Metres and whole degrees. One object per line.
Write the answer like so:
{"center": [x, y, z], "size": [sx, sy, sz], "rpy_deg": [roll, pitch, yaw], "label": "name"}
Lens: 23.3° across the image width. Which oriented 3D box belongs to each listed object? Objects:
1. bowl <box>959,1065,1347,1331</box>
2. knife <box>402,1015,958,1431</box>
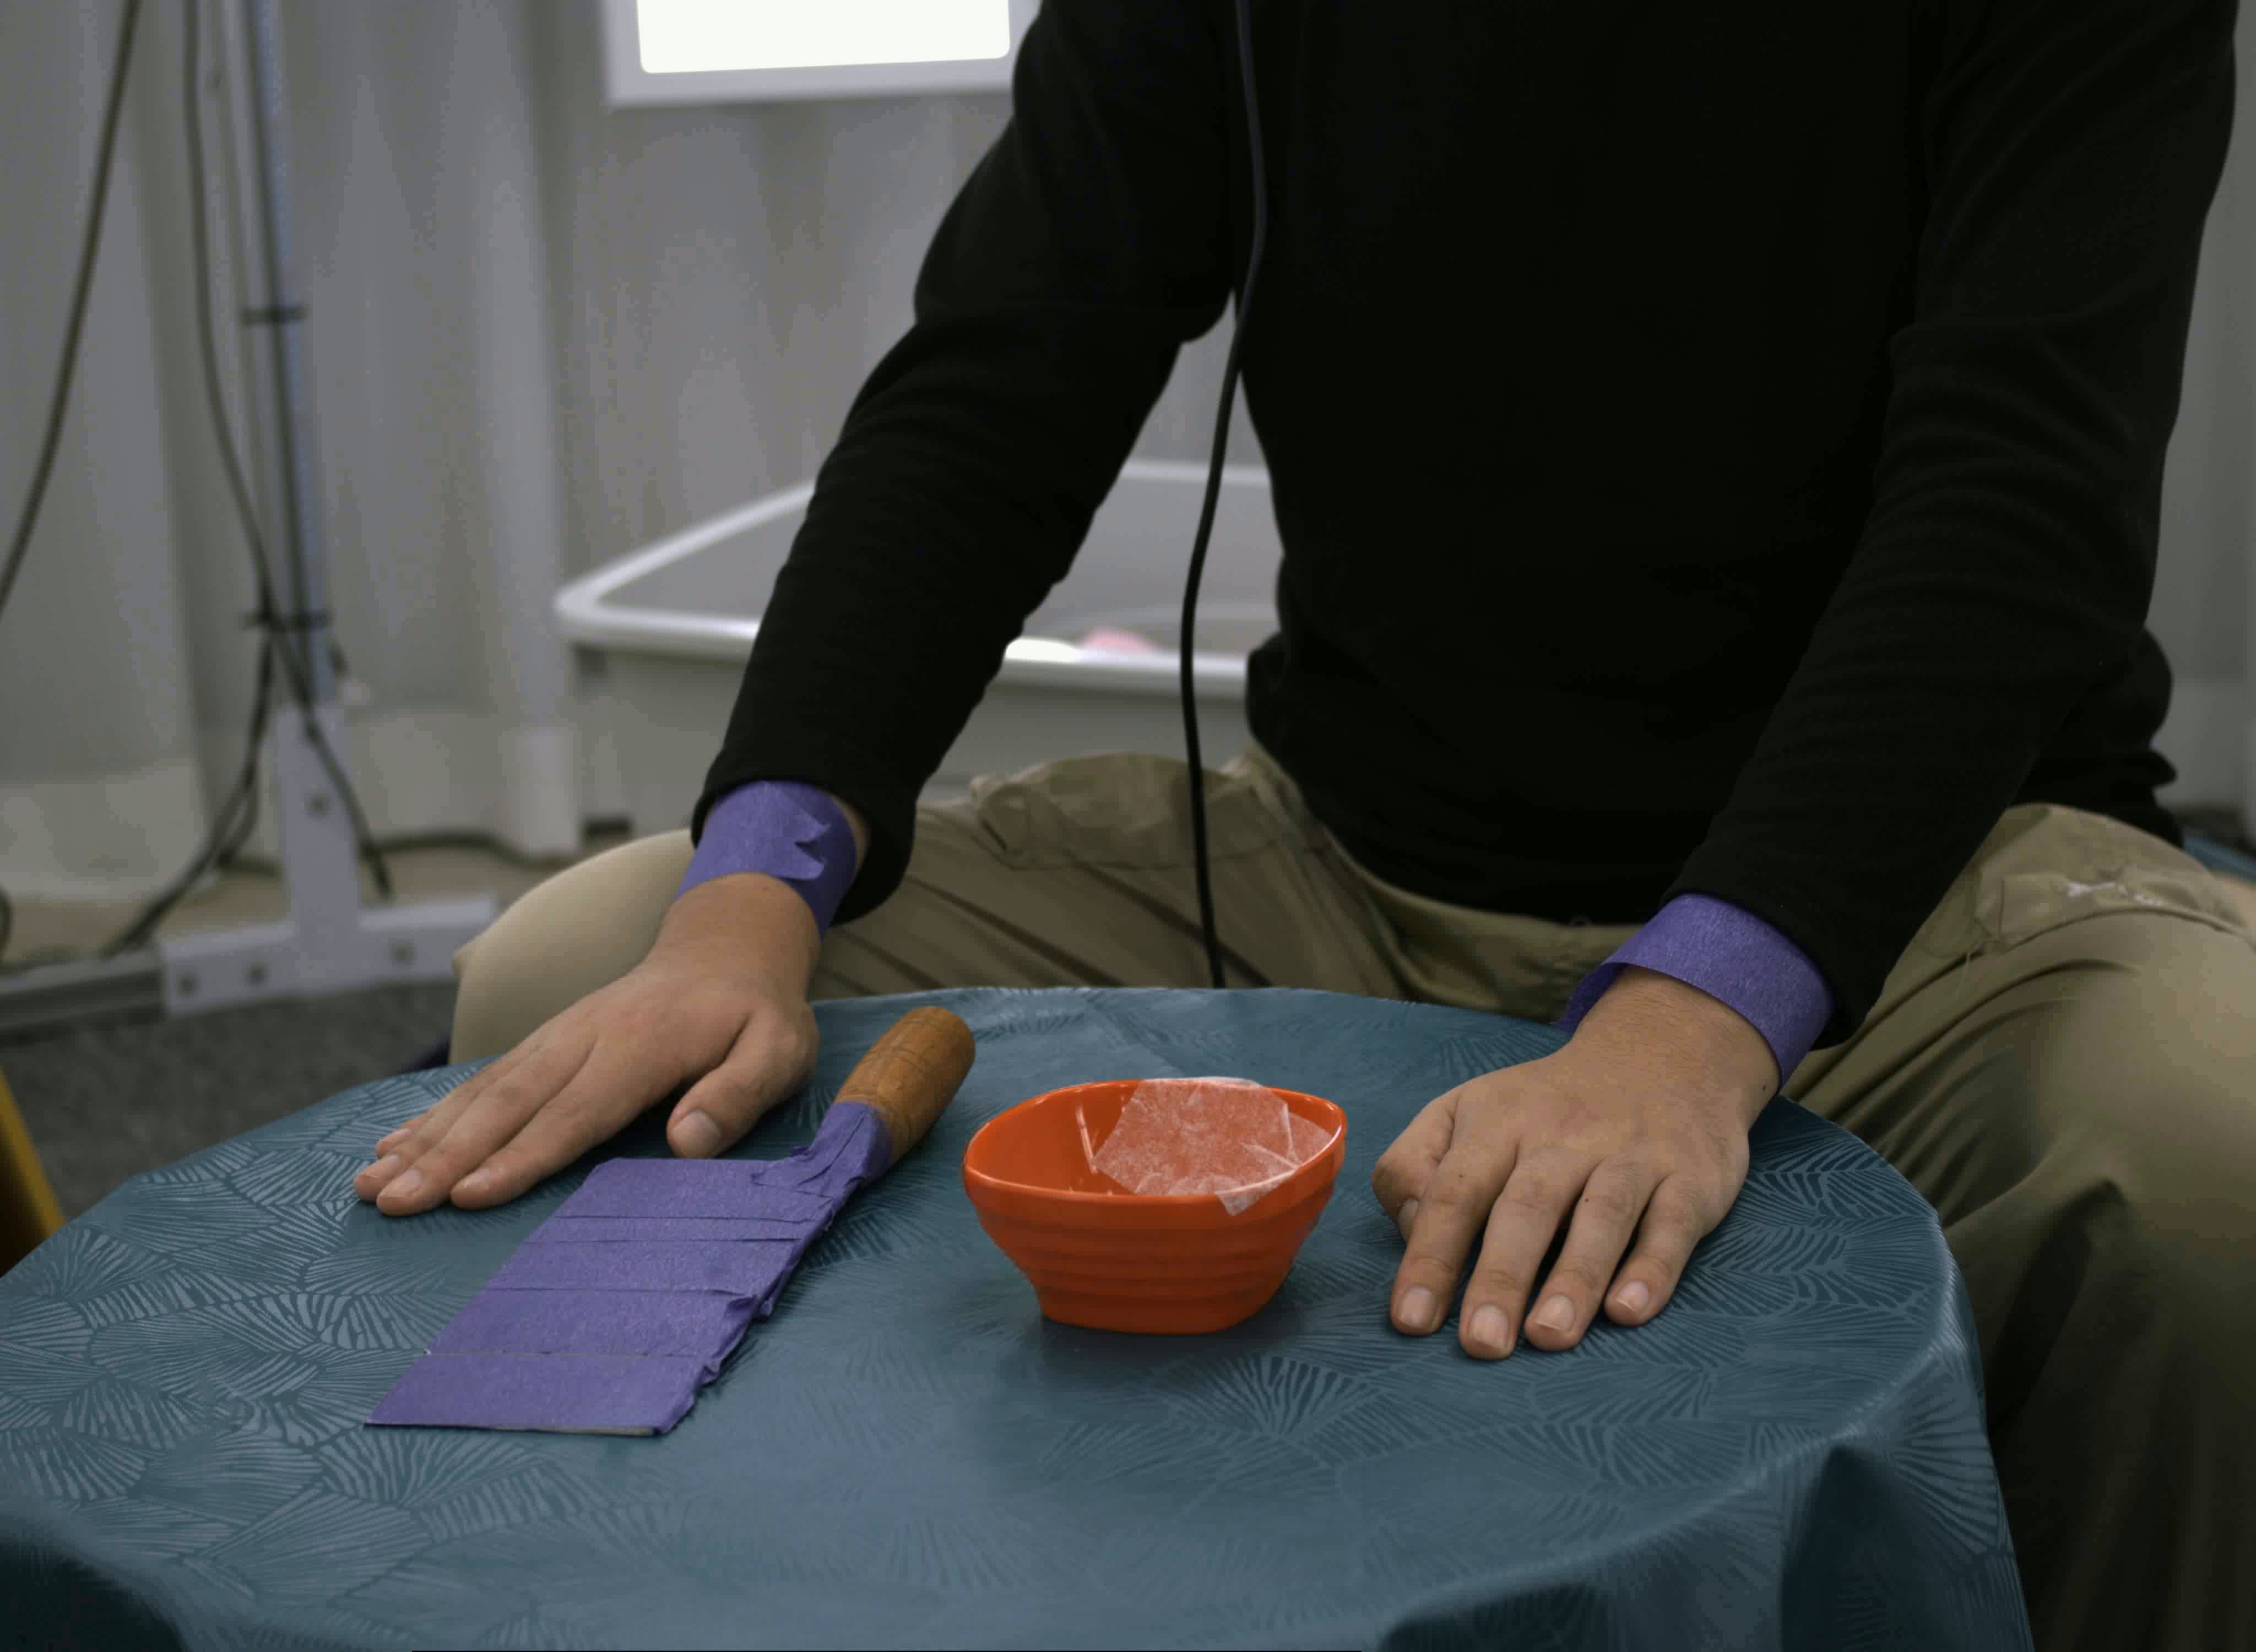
{"center": [0.010, 0.112, 1.612], "size": [0.118, 0.051, 0.120], "rpy_deg": [-5, 17, 1], "label": "bowl"}
{"center": [-0.134, 0.118, 1.676], "size": [0.104, 0.032, 0.317], "rpy_deg": [1, 16, 14], "label": "knife"}
